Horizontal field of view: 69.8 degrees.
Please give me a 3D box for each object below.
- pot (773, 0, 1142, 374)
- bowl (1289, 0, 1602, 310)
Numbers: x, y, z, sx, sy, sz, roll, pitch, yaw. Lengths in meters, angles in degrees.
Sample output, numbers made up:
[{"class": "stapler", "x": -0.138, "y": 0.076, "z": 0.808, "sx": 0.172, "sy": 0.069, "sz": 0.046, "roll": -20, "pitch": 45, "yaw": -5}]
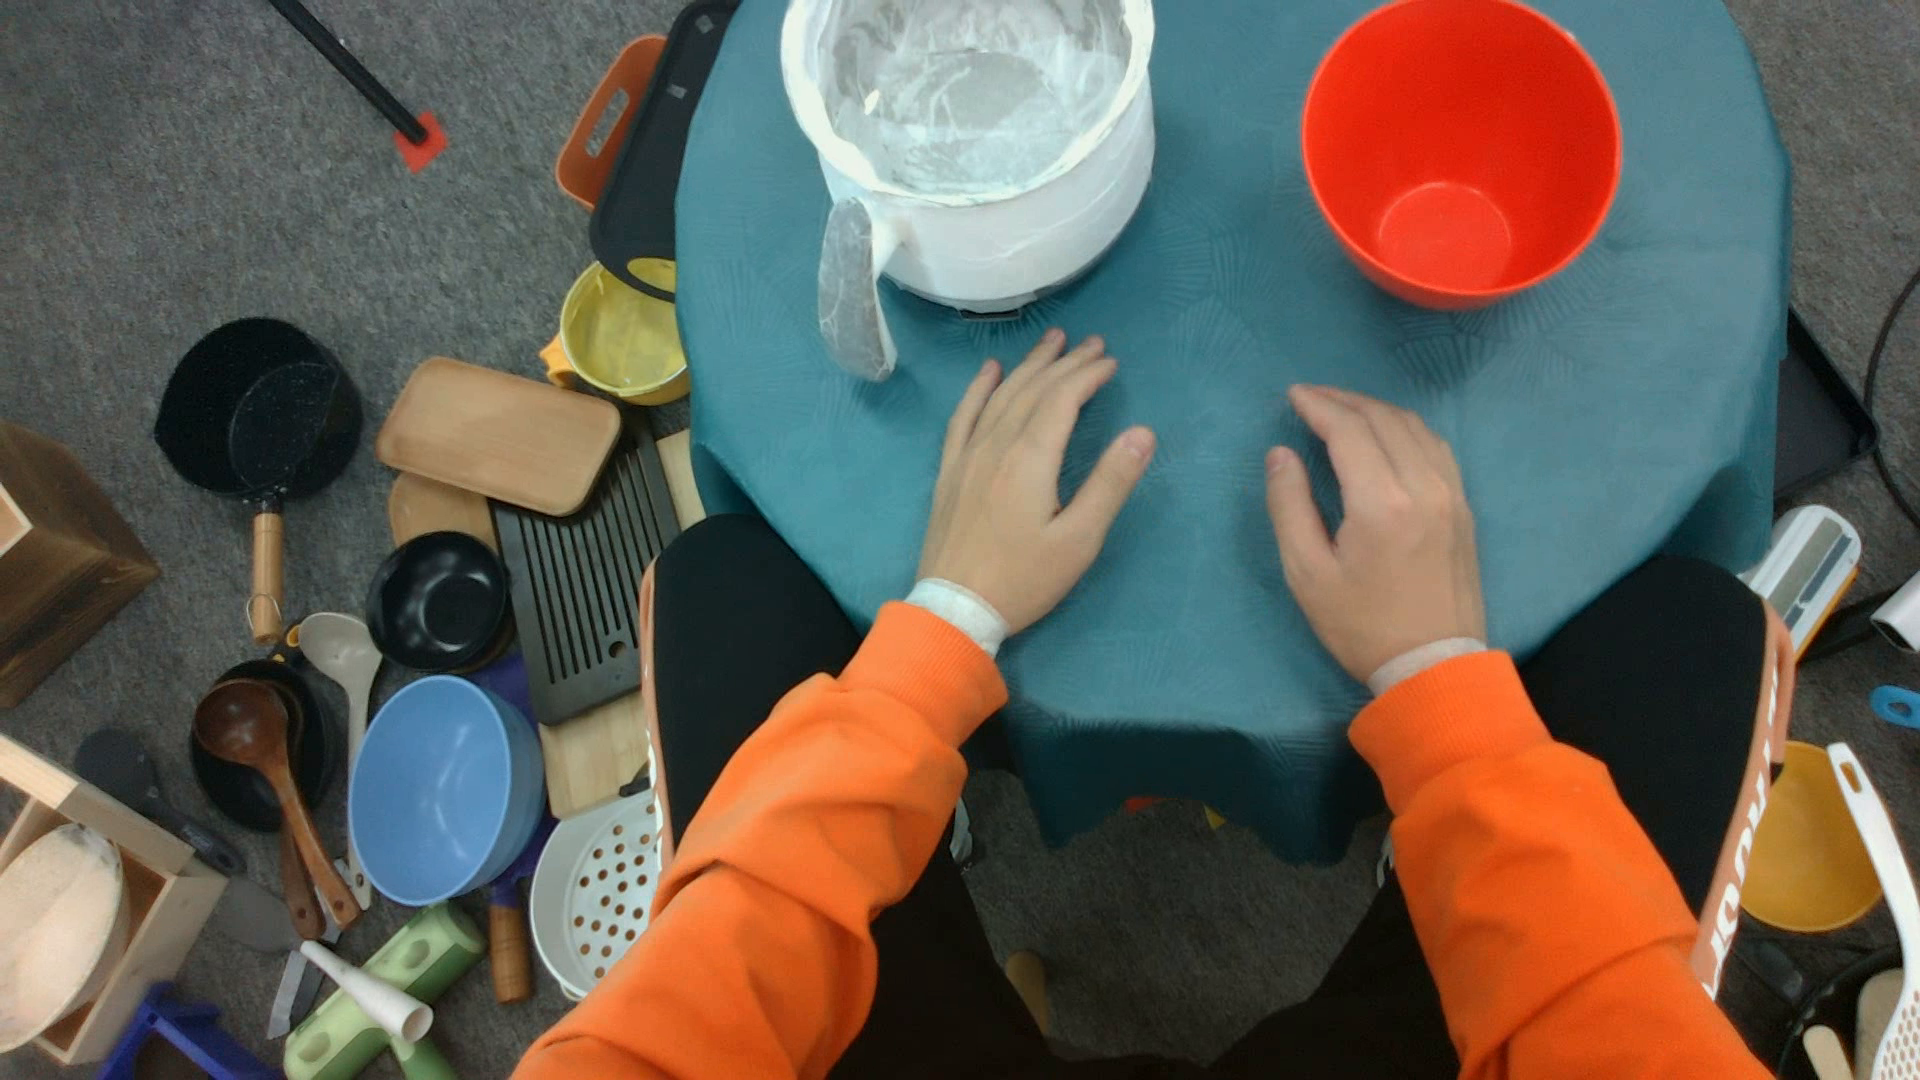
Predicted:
[{"class": "pot", "x": -0.008, "y": -0.200, "z": 0.709, "sx": 0.178, "sy": 0.136, "sz": 0.234, "roll": 27, "pitch": 79, "yaw": 14}, {"class": "bowl", "x": 0.236, "y": -0.178, "z": 0.694, "sx": 0.148, "sy": 0.104, "sz": 0.148, "roll": -2, "pitch": 76, "yaw": 6}]
